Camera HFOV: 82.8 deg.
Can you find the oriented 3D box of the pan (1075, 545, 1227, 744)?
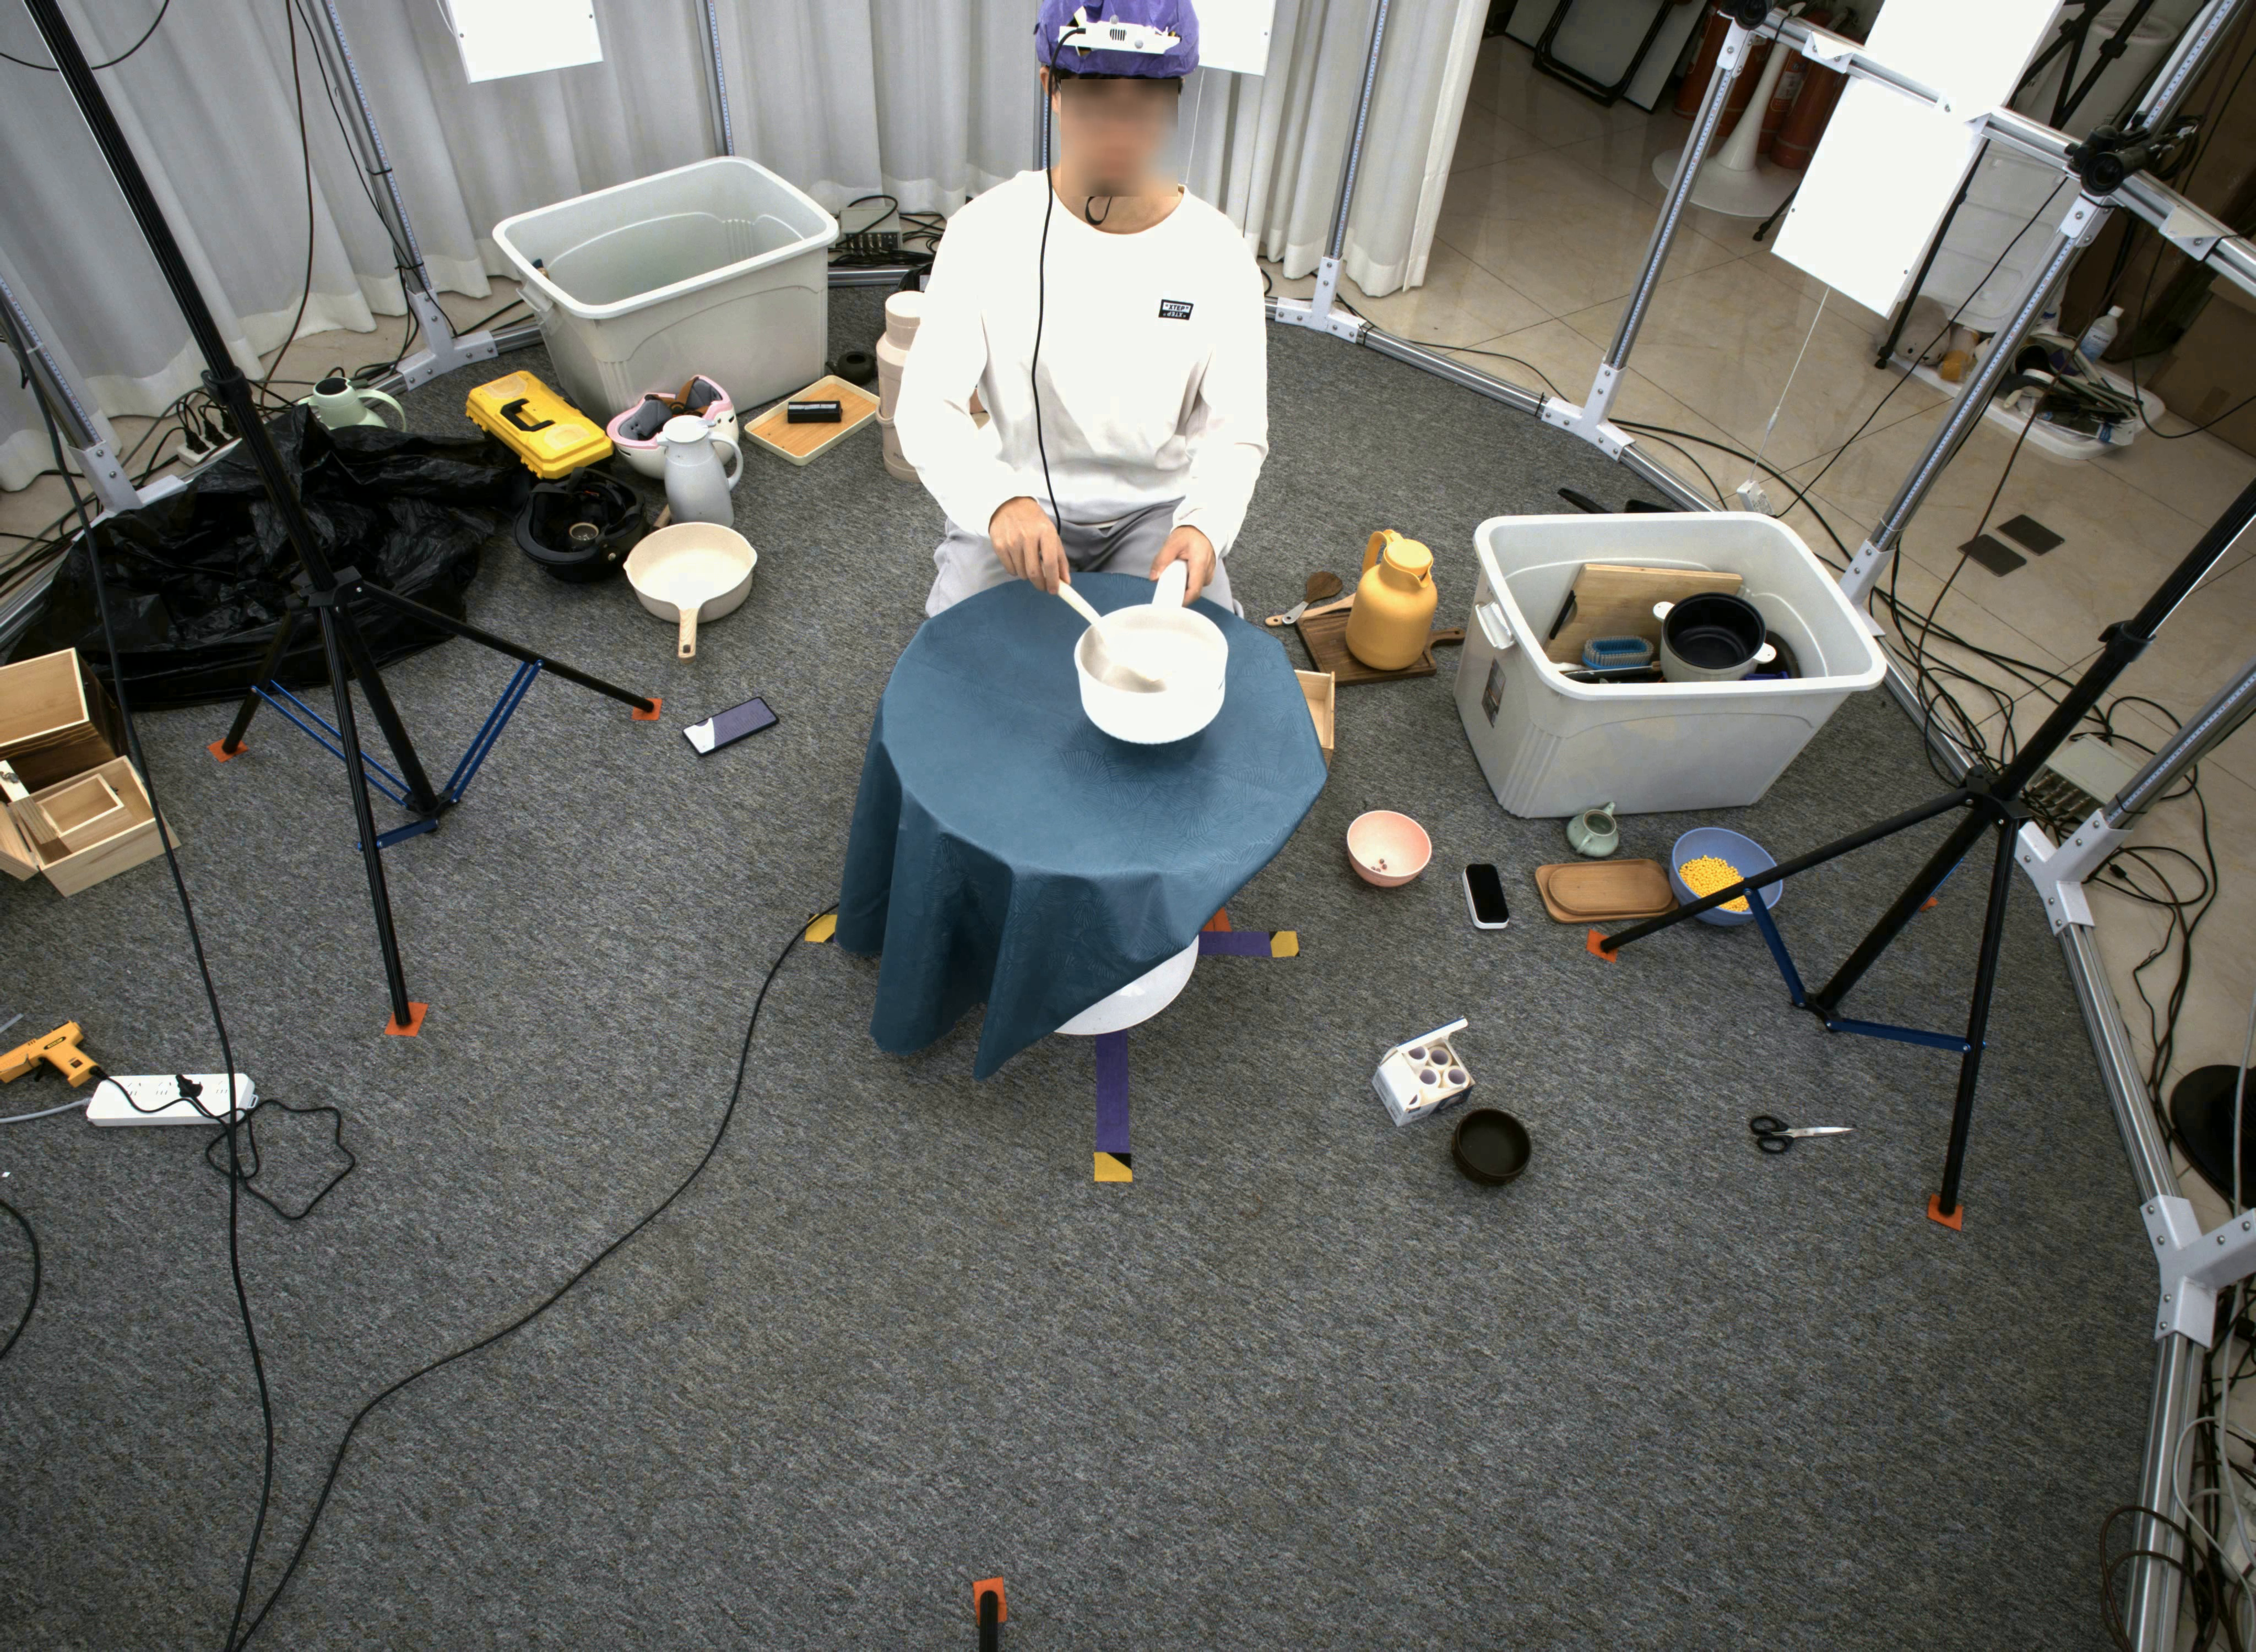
[{"bbox_3d":[0.048,-0.252,1.774,0.201,0.099,0.363,4,44,11],"label":"pan"}]

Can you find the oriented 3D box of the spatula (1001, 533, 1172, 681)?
[{"bbox_3d":[-0.063,-0.294,1.710,0.295,0.010,0.073,43,34,12],"label":"spatula"}]
